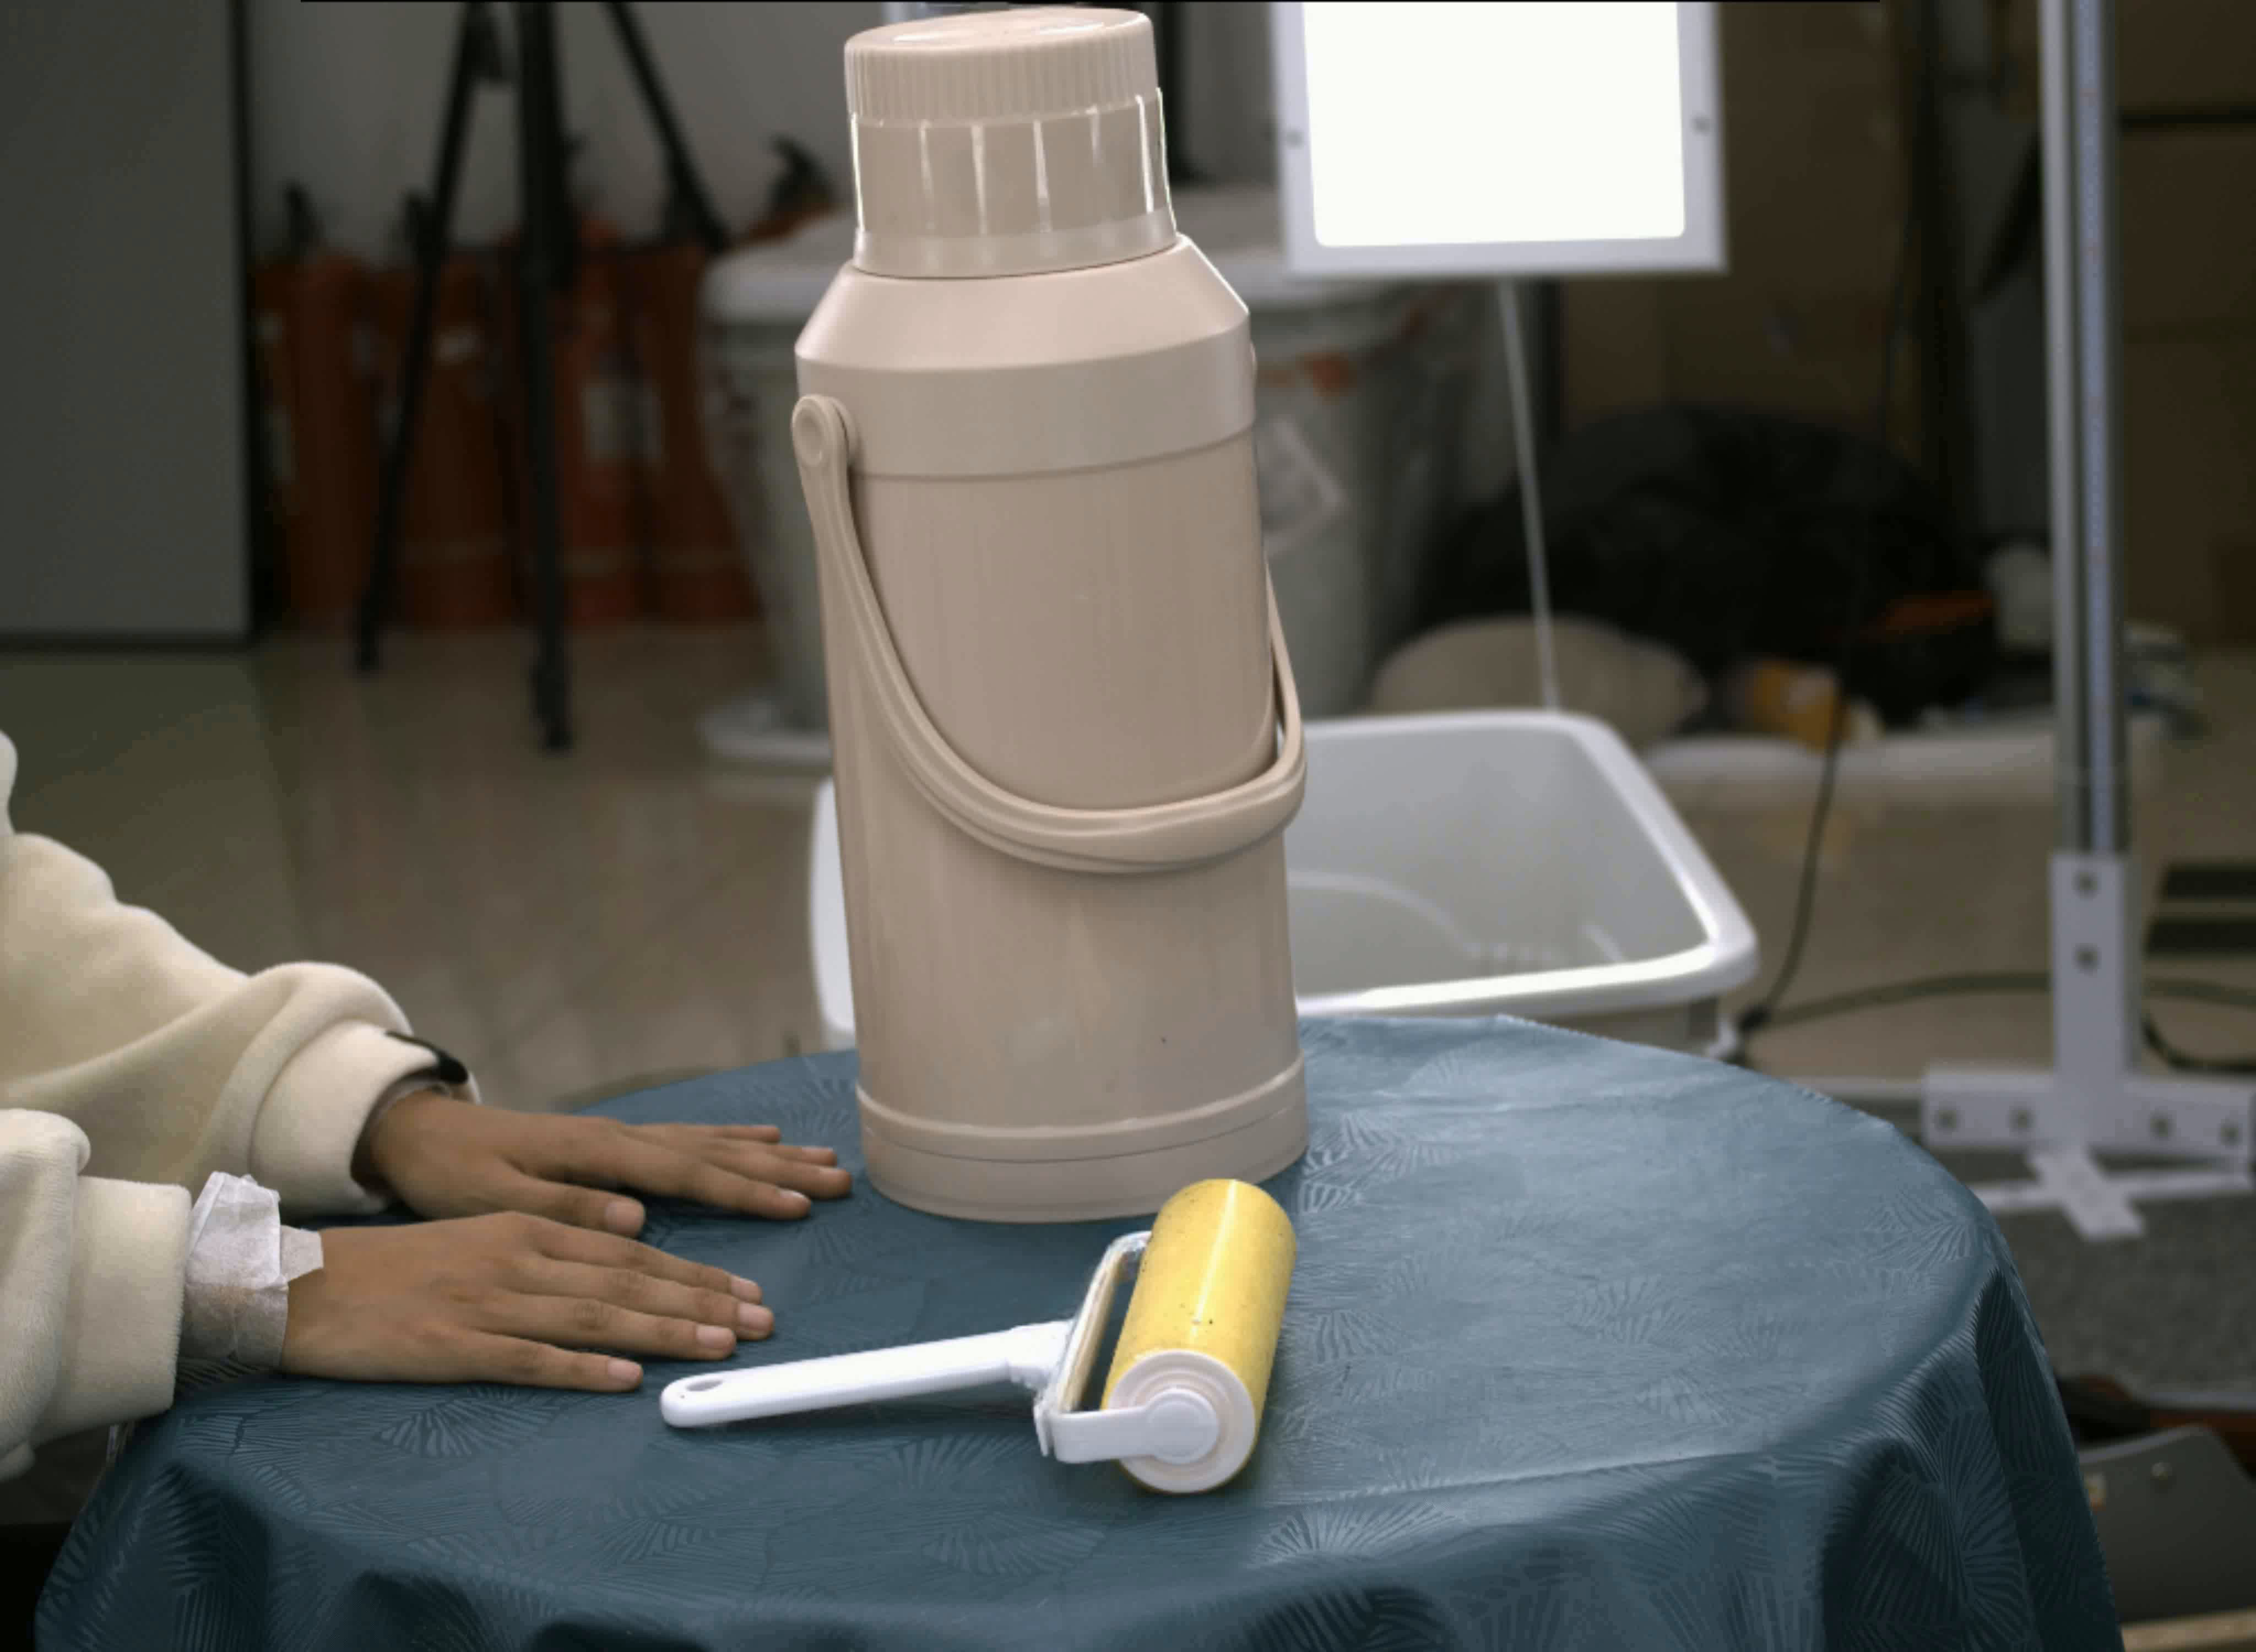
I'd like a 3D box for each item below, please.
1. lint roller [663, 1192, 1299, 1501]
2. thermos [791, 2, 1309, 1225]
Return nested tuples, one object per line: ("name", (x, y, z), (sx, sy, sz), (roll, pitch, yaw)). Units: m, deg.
("lint roller", (-0.047, 0.154, 1.687), (0.192, 0.052, 0.173), (4, 14, 5))
("thermos", (-0.036, -0.077, 1.909), (0.171, 0.408, 0.211), (-14, 16, -31))
